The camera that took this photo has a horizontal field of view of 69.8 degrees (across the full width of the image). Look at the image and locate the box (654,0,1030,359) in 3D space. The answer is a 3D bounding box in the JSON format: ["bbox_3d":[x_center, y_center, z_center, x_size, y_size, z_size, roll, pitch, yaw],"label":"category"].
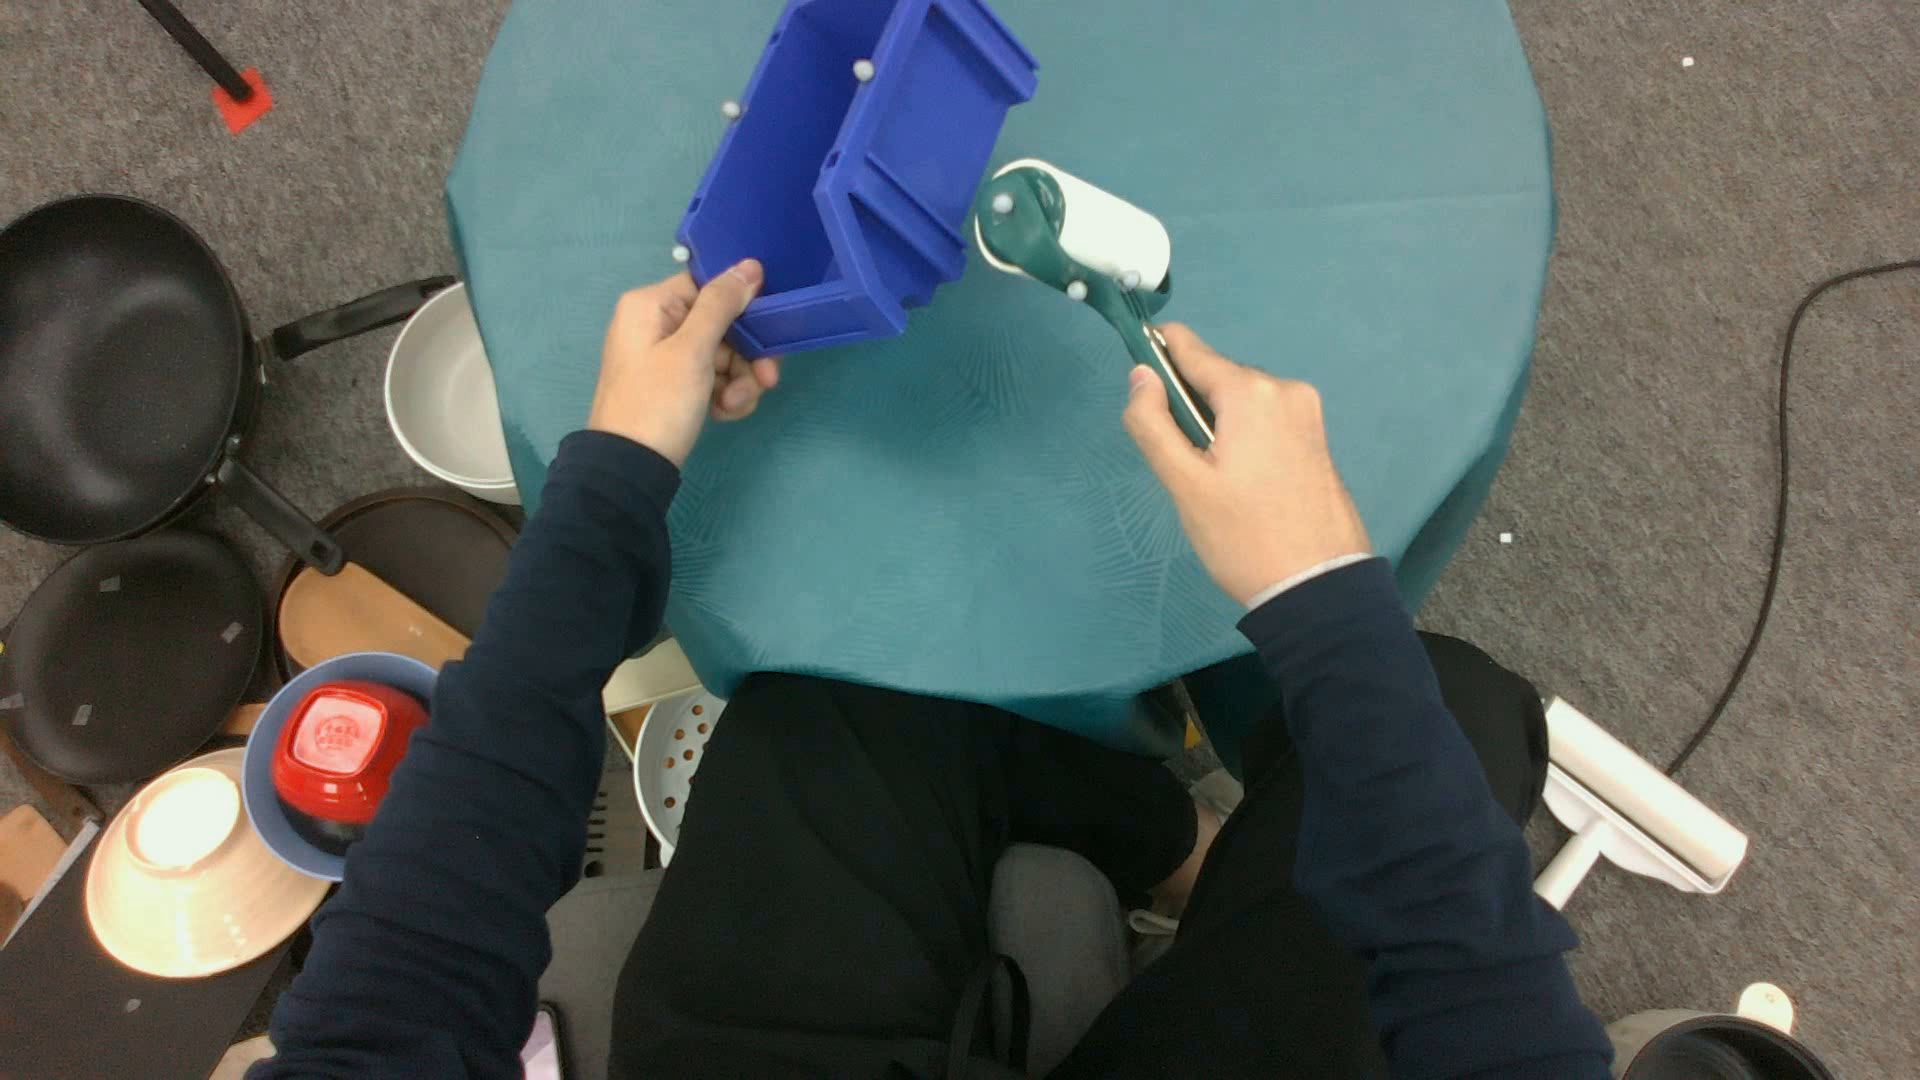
[{"bbox_3d":[-0.057,-0.175,0.657,0.124,0.082,0.180,3,61,45],"label":"box"}]

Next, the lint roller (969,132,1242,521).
[{"bbox_3d":[0.083,-0.092,0.599,0.048,0.134,0.180,-42,69,24],"label":"lint roller"}]
